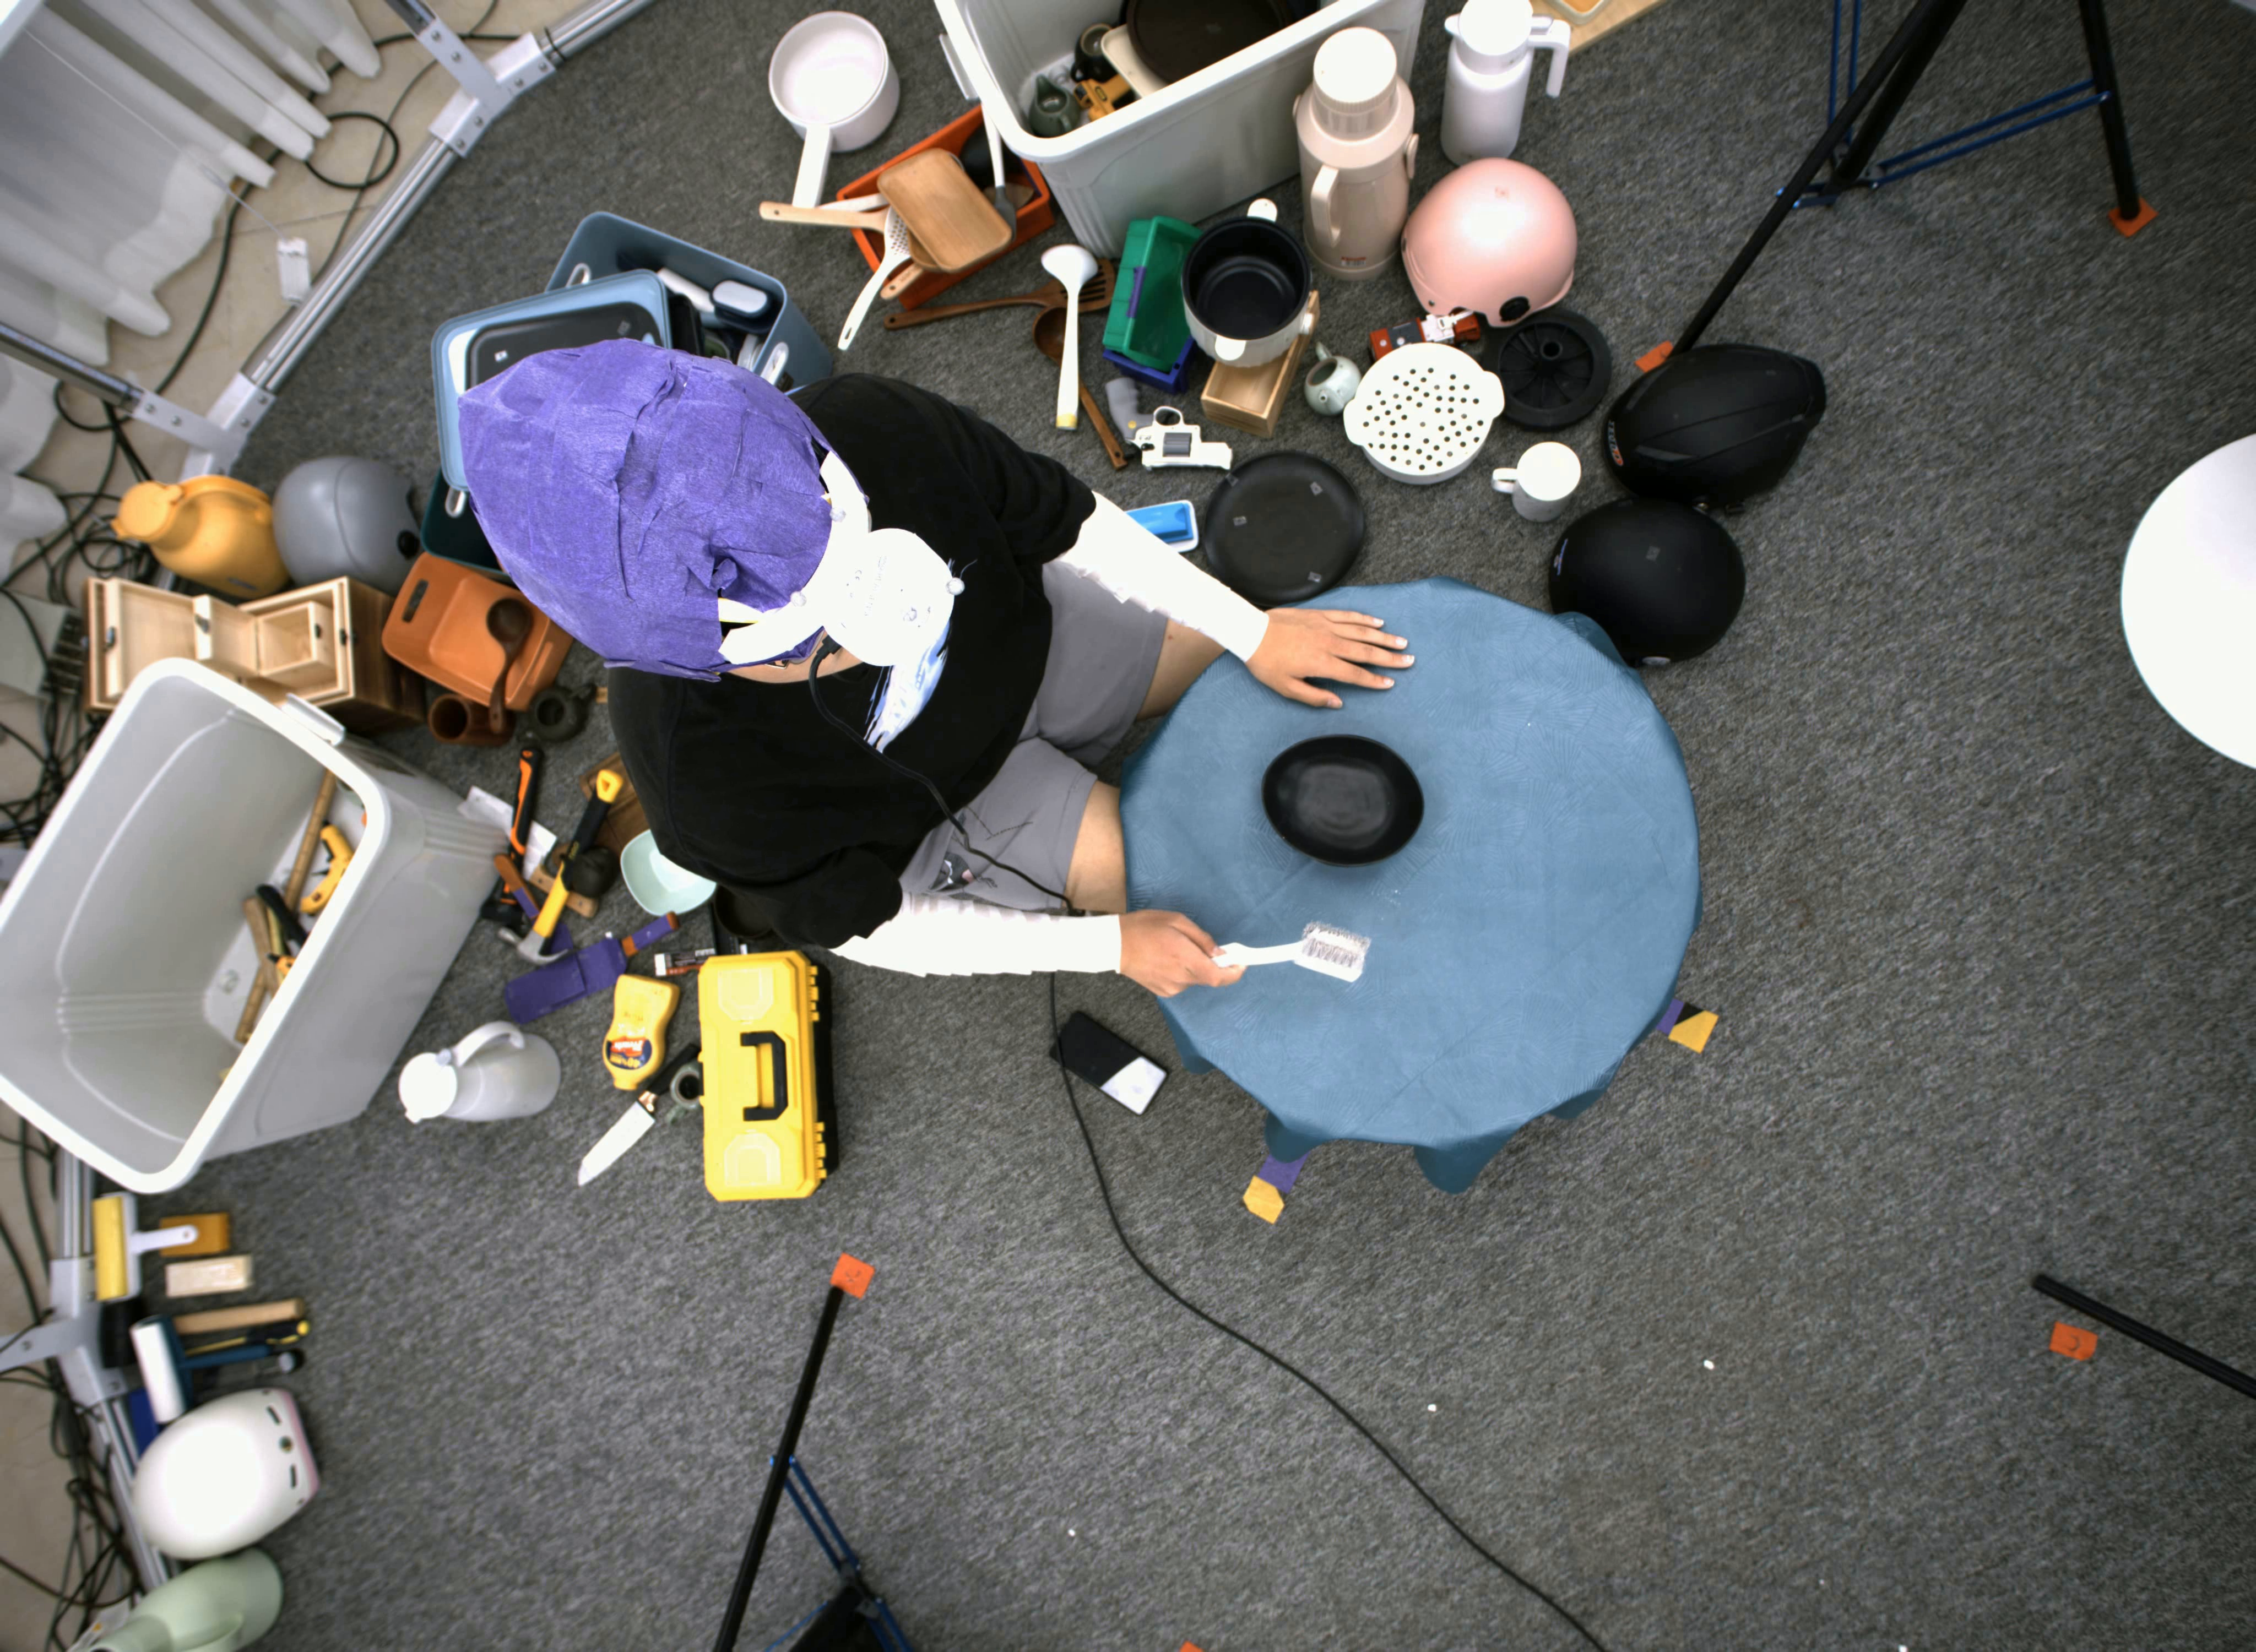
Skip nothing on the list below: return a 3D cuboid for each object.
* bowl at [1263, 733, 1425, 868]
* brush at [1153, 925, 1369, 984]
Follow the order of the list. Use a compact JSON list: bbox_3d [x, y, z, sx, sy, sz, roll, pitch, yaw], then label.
[{"bbox_3d":[0.224,-0.025,1.440,0.170,0.067,0.137,13,89,13],"label":"bowl"},{"bbox_3d":[0.126,0.119,1.394,0.245,0.033,0.051,4,127,33],"label":"brush"}]
